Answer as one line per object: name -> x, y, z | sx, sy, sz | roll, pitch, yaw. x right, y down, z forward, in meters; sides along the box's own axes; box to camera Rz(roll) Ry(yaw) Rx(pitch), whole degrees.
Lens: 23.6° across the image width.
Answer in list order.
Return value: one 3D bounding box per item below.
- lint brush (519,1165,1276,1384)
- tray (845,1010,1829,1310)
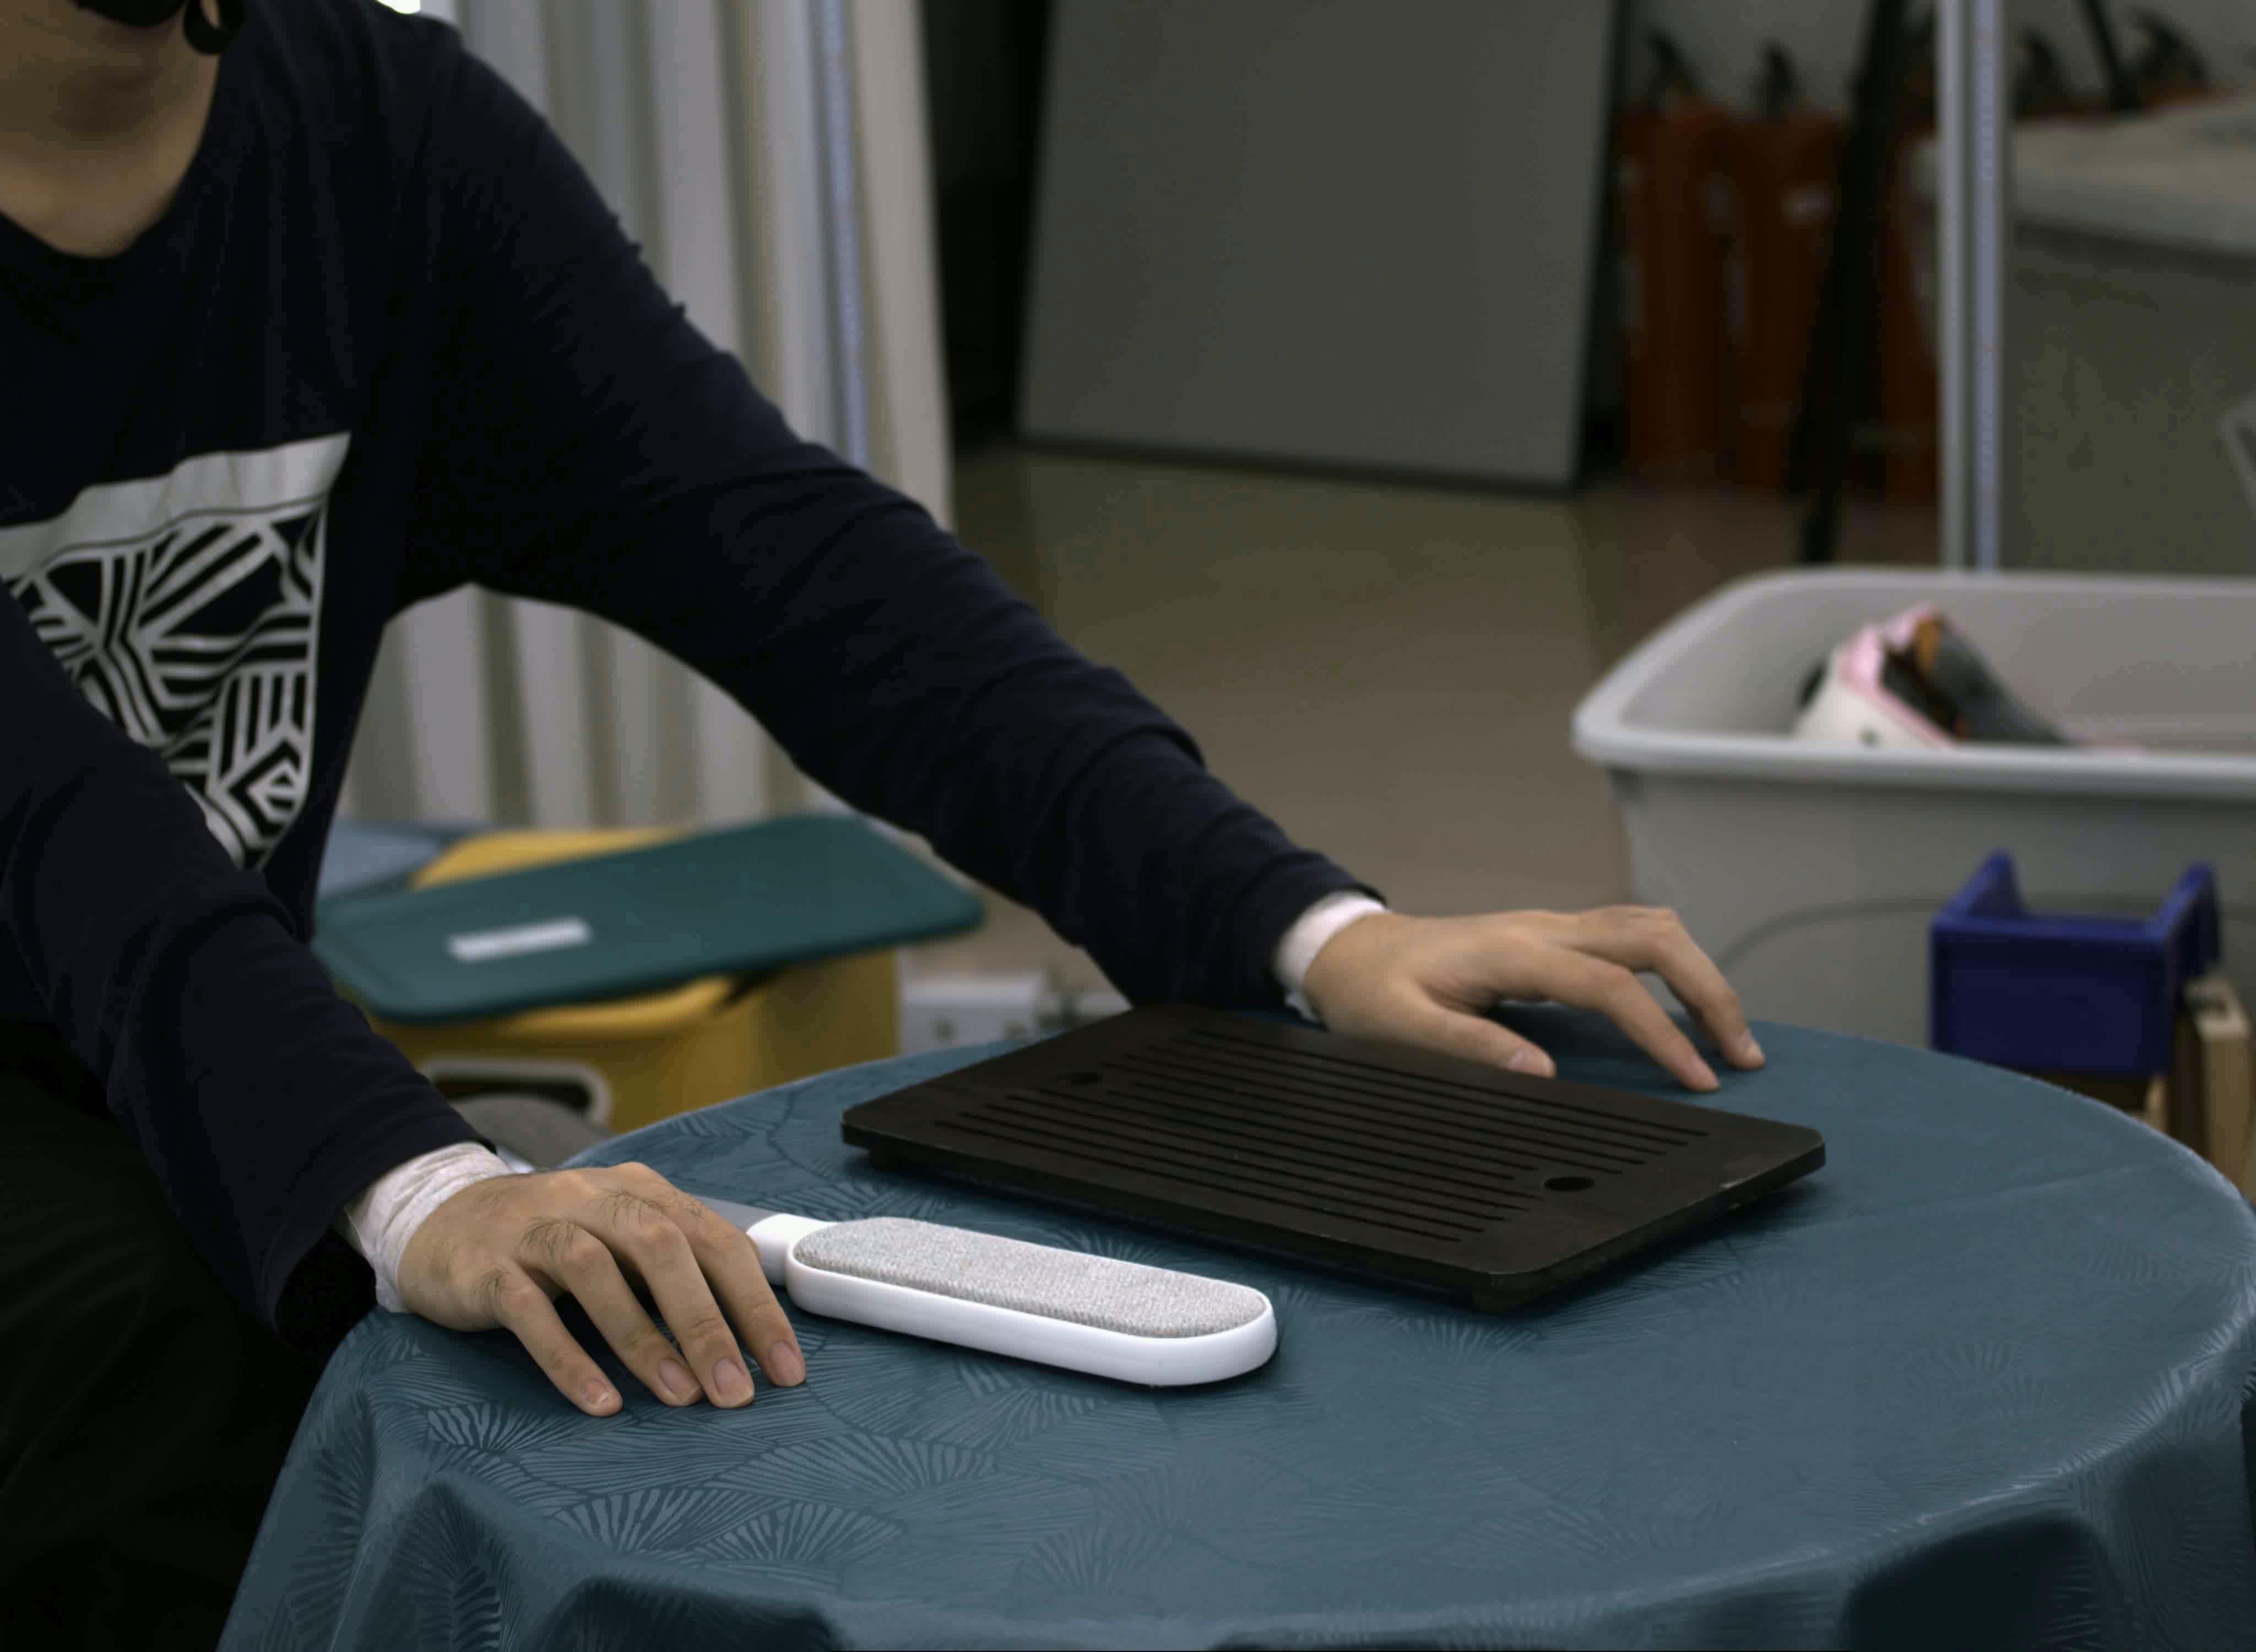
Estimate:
lint brush -> -0.079, 0.136, 1.683 | 0.311, 0.021, 0.059 | 7, 23, 41
tray -> 0.065, 0.107, 1.778 | 0.308, 0.019, 0.167 | 8, 19, 43
